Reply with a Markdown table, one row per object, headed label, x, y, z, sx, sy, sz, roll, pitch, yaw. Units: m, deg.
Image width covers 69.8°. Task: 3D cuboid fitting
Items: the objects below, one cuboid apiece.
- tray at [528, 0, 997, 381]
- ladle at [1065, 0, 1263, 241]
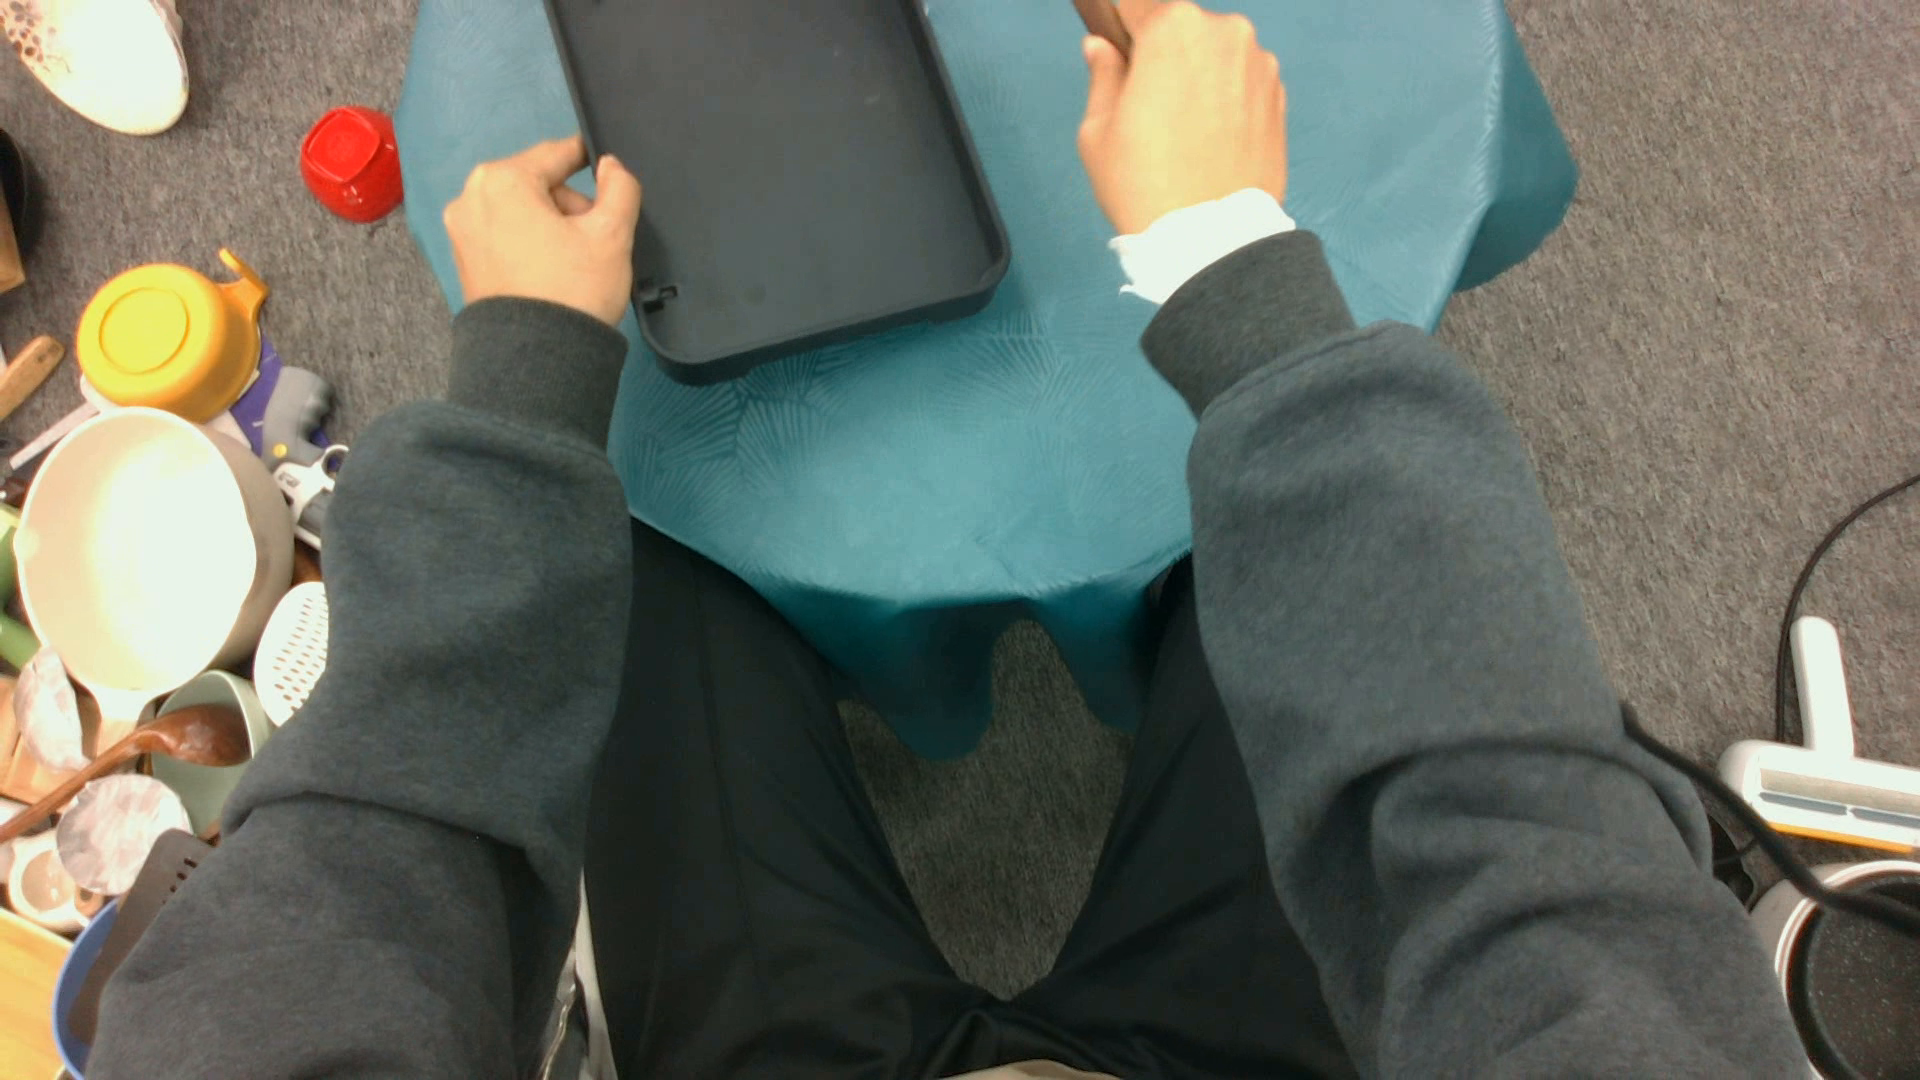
| label | x | y | z | sx | sy | sz | roll | pitch | yaw |
| --- | --- | --- | --- | --- | --- | --- | --- | --- | --- |
| tray | -0.115 | -0.242 | 0.706 | 0.184 | 0.037 | 0.318 | -17 | 74 | -13 |
| ladle | 0.052 | -0.239 | 0.614 | 0.076 | 0.065 | 0.260 | -31 | 94 | 37 |
